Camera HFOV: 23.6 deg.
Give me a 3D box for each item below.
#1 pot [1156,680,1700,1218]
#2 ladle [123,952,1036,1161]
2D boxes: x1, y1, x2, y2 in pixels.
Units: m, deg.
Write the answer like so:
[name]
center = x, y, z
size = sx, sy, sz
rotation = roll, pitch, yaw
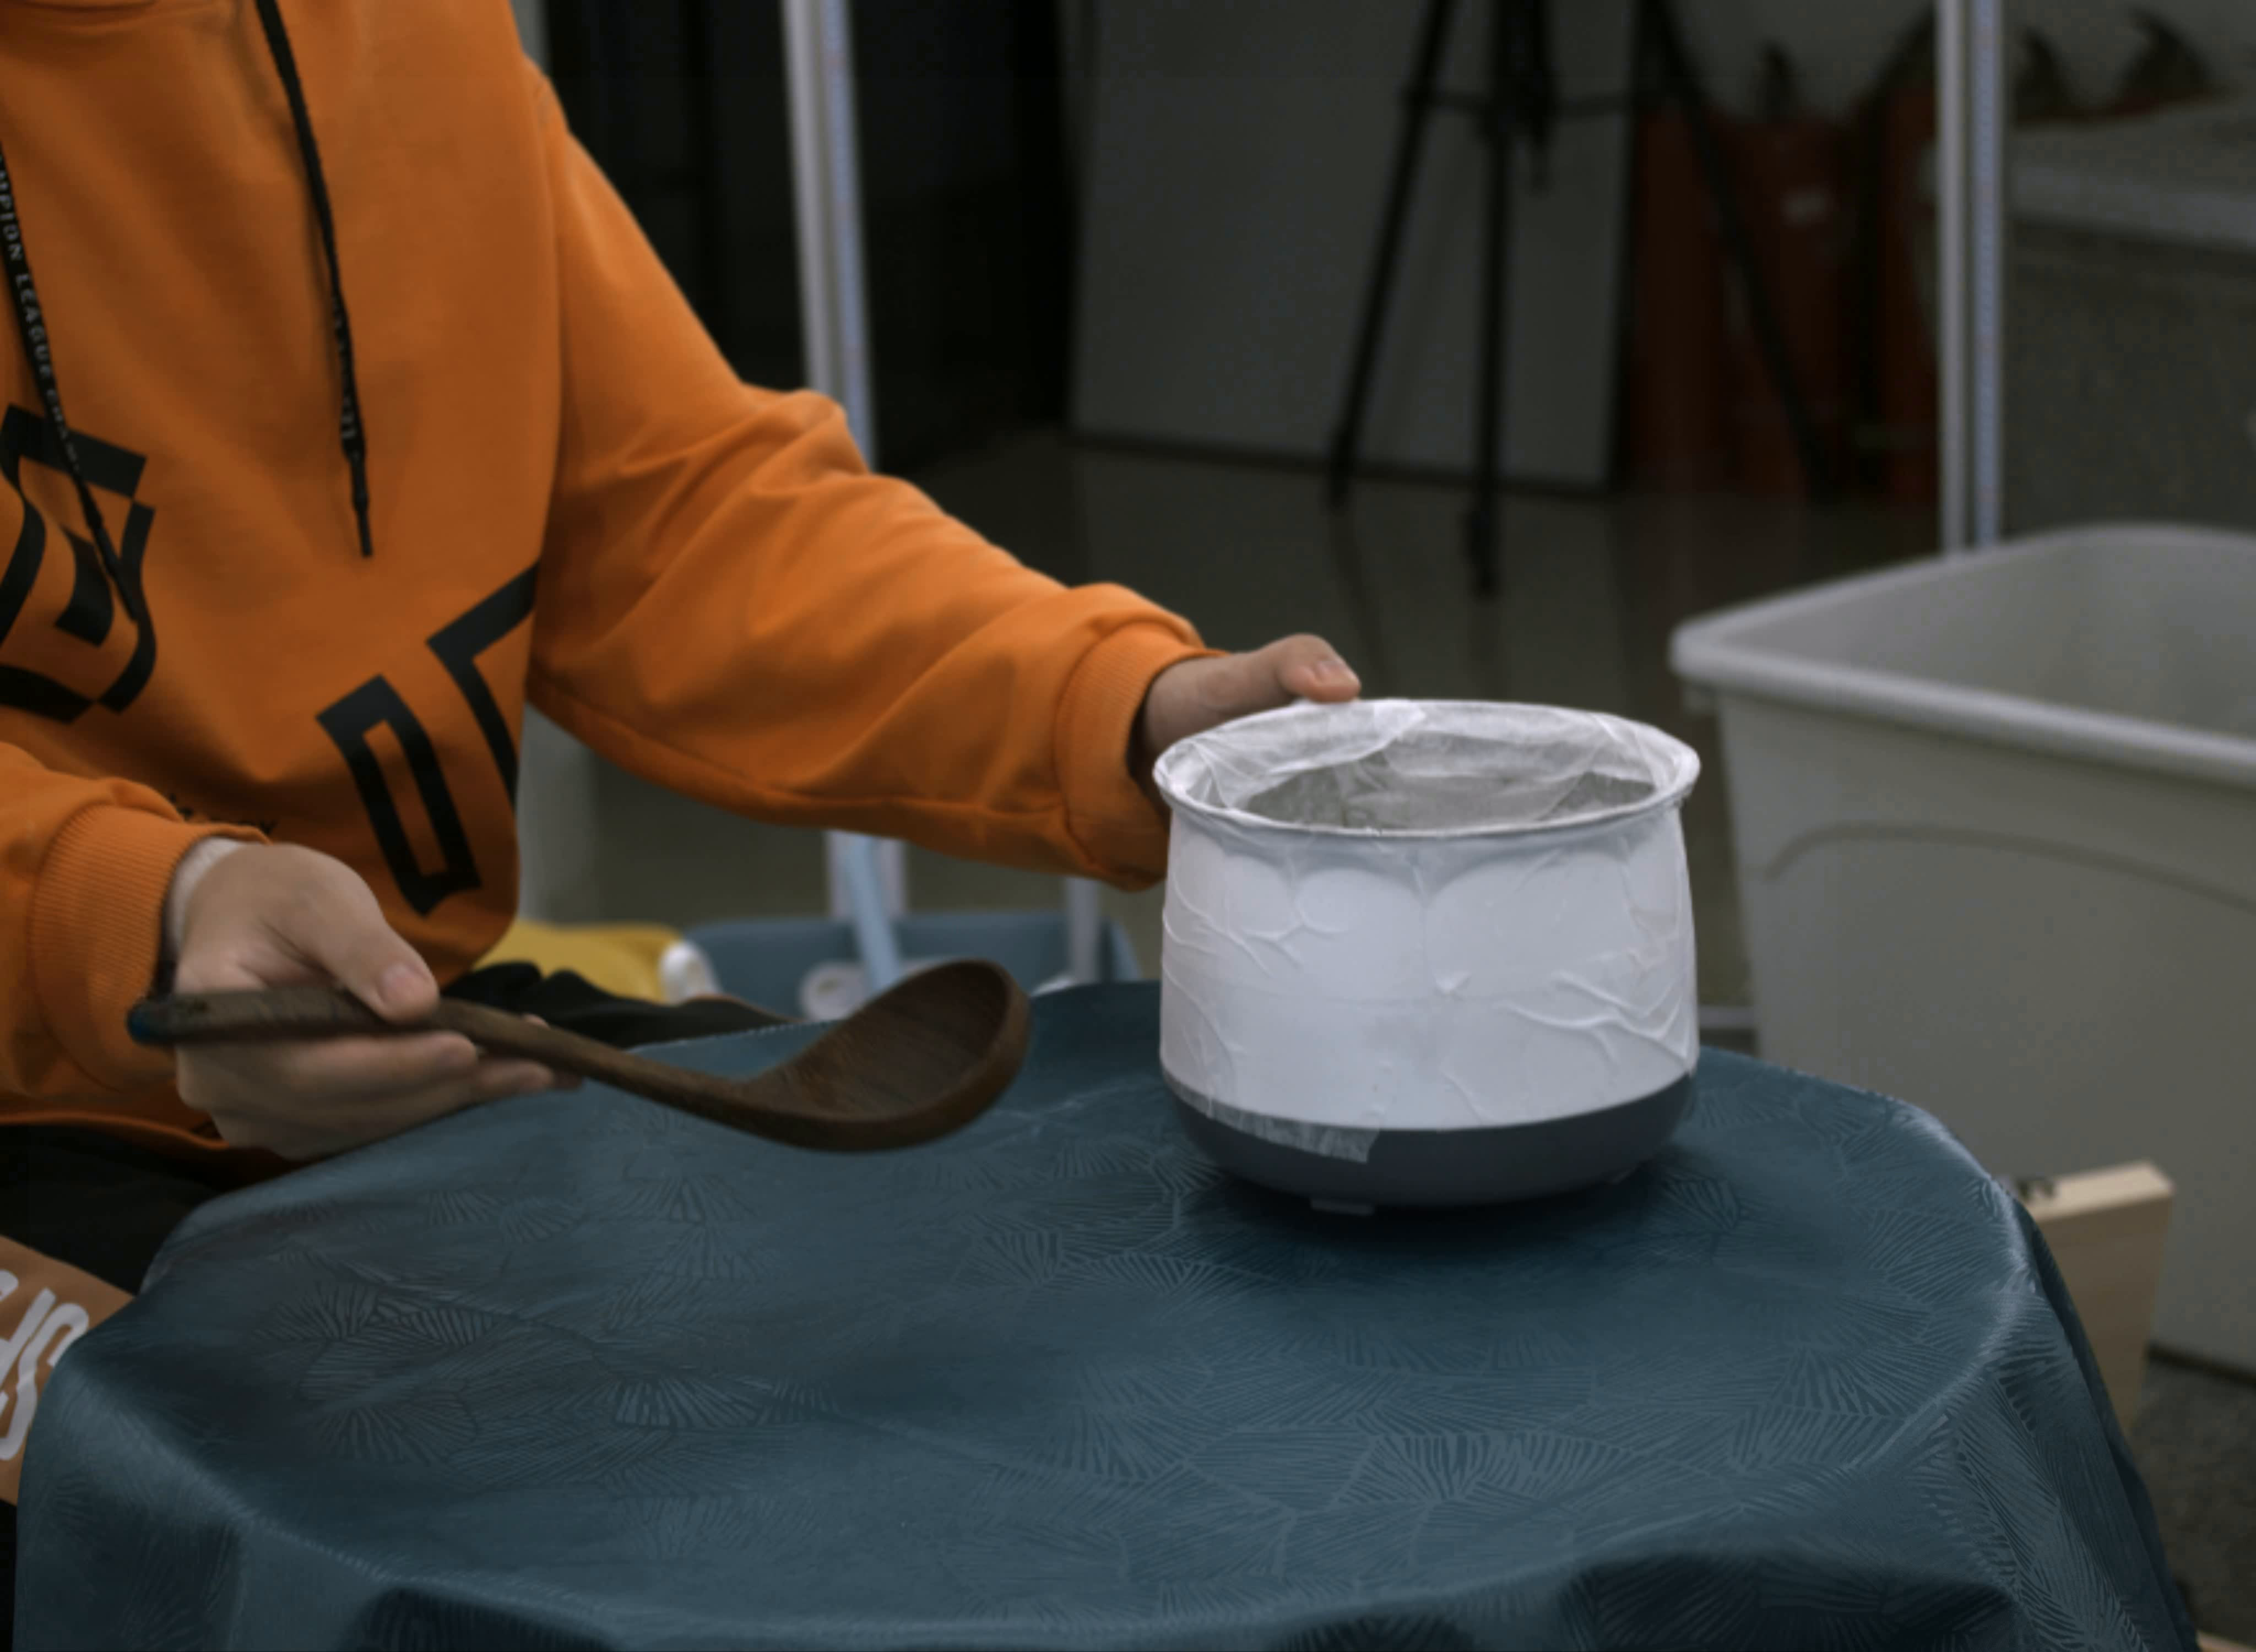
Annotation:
[pot]
center = 0.088, 0.034, 1.766
size = 0.175, 0.138, 0.236
rotation = -6, 15, -18
[ladle]
center = -0.156, 0.051, 1.591
size = 0.268, 0.072, 0.077
rotation = 12, 11, -25
